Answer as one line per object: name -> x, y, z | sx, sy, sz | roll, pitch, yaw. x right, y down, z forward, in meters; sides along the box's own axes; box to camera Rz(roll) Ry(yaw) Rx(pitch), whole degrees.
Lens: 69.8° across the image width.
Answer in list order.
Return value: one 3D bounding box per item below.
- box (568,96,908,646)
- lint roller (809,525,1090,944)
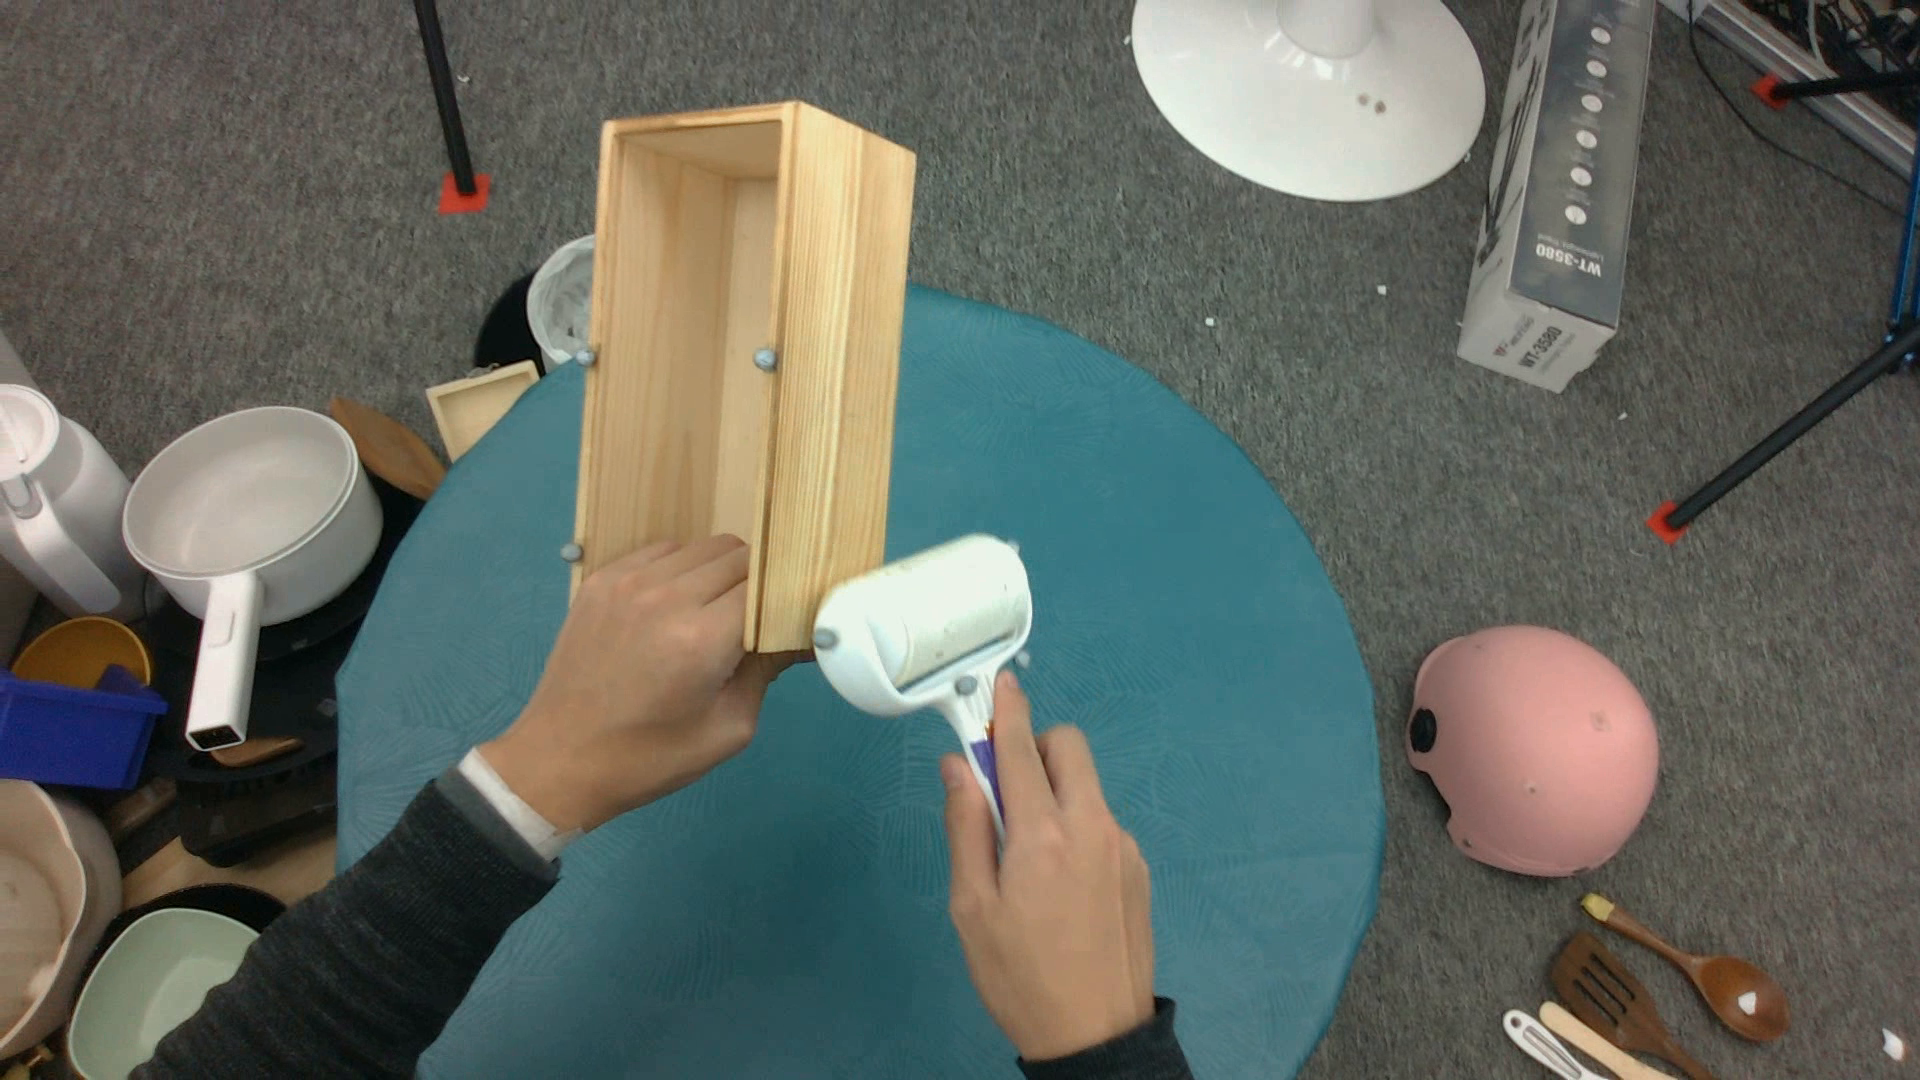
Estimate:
box -> -0.094, -0.068, 0.585 | 0.107, 0.080, 0.211 | 5, 92, 32
lint roller -> 0.016, 0.081, 0.572 | 0.181, 0.050, 0.133 | 59, 30, 9
